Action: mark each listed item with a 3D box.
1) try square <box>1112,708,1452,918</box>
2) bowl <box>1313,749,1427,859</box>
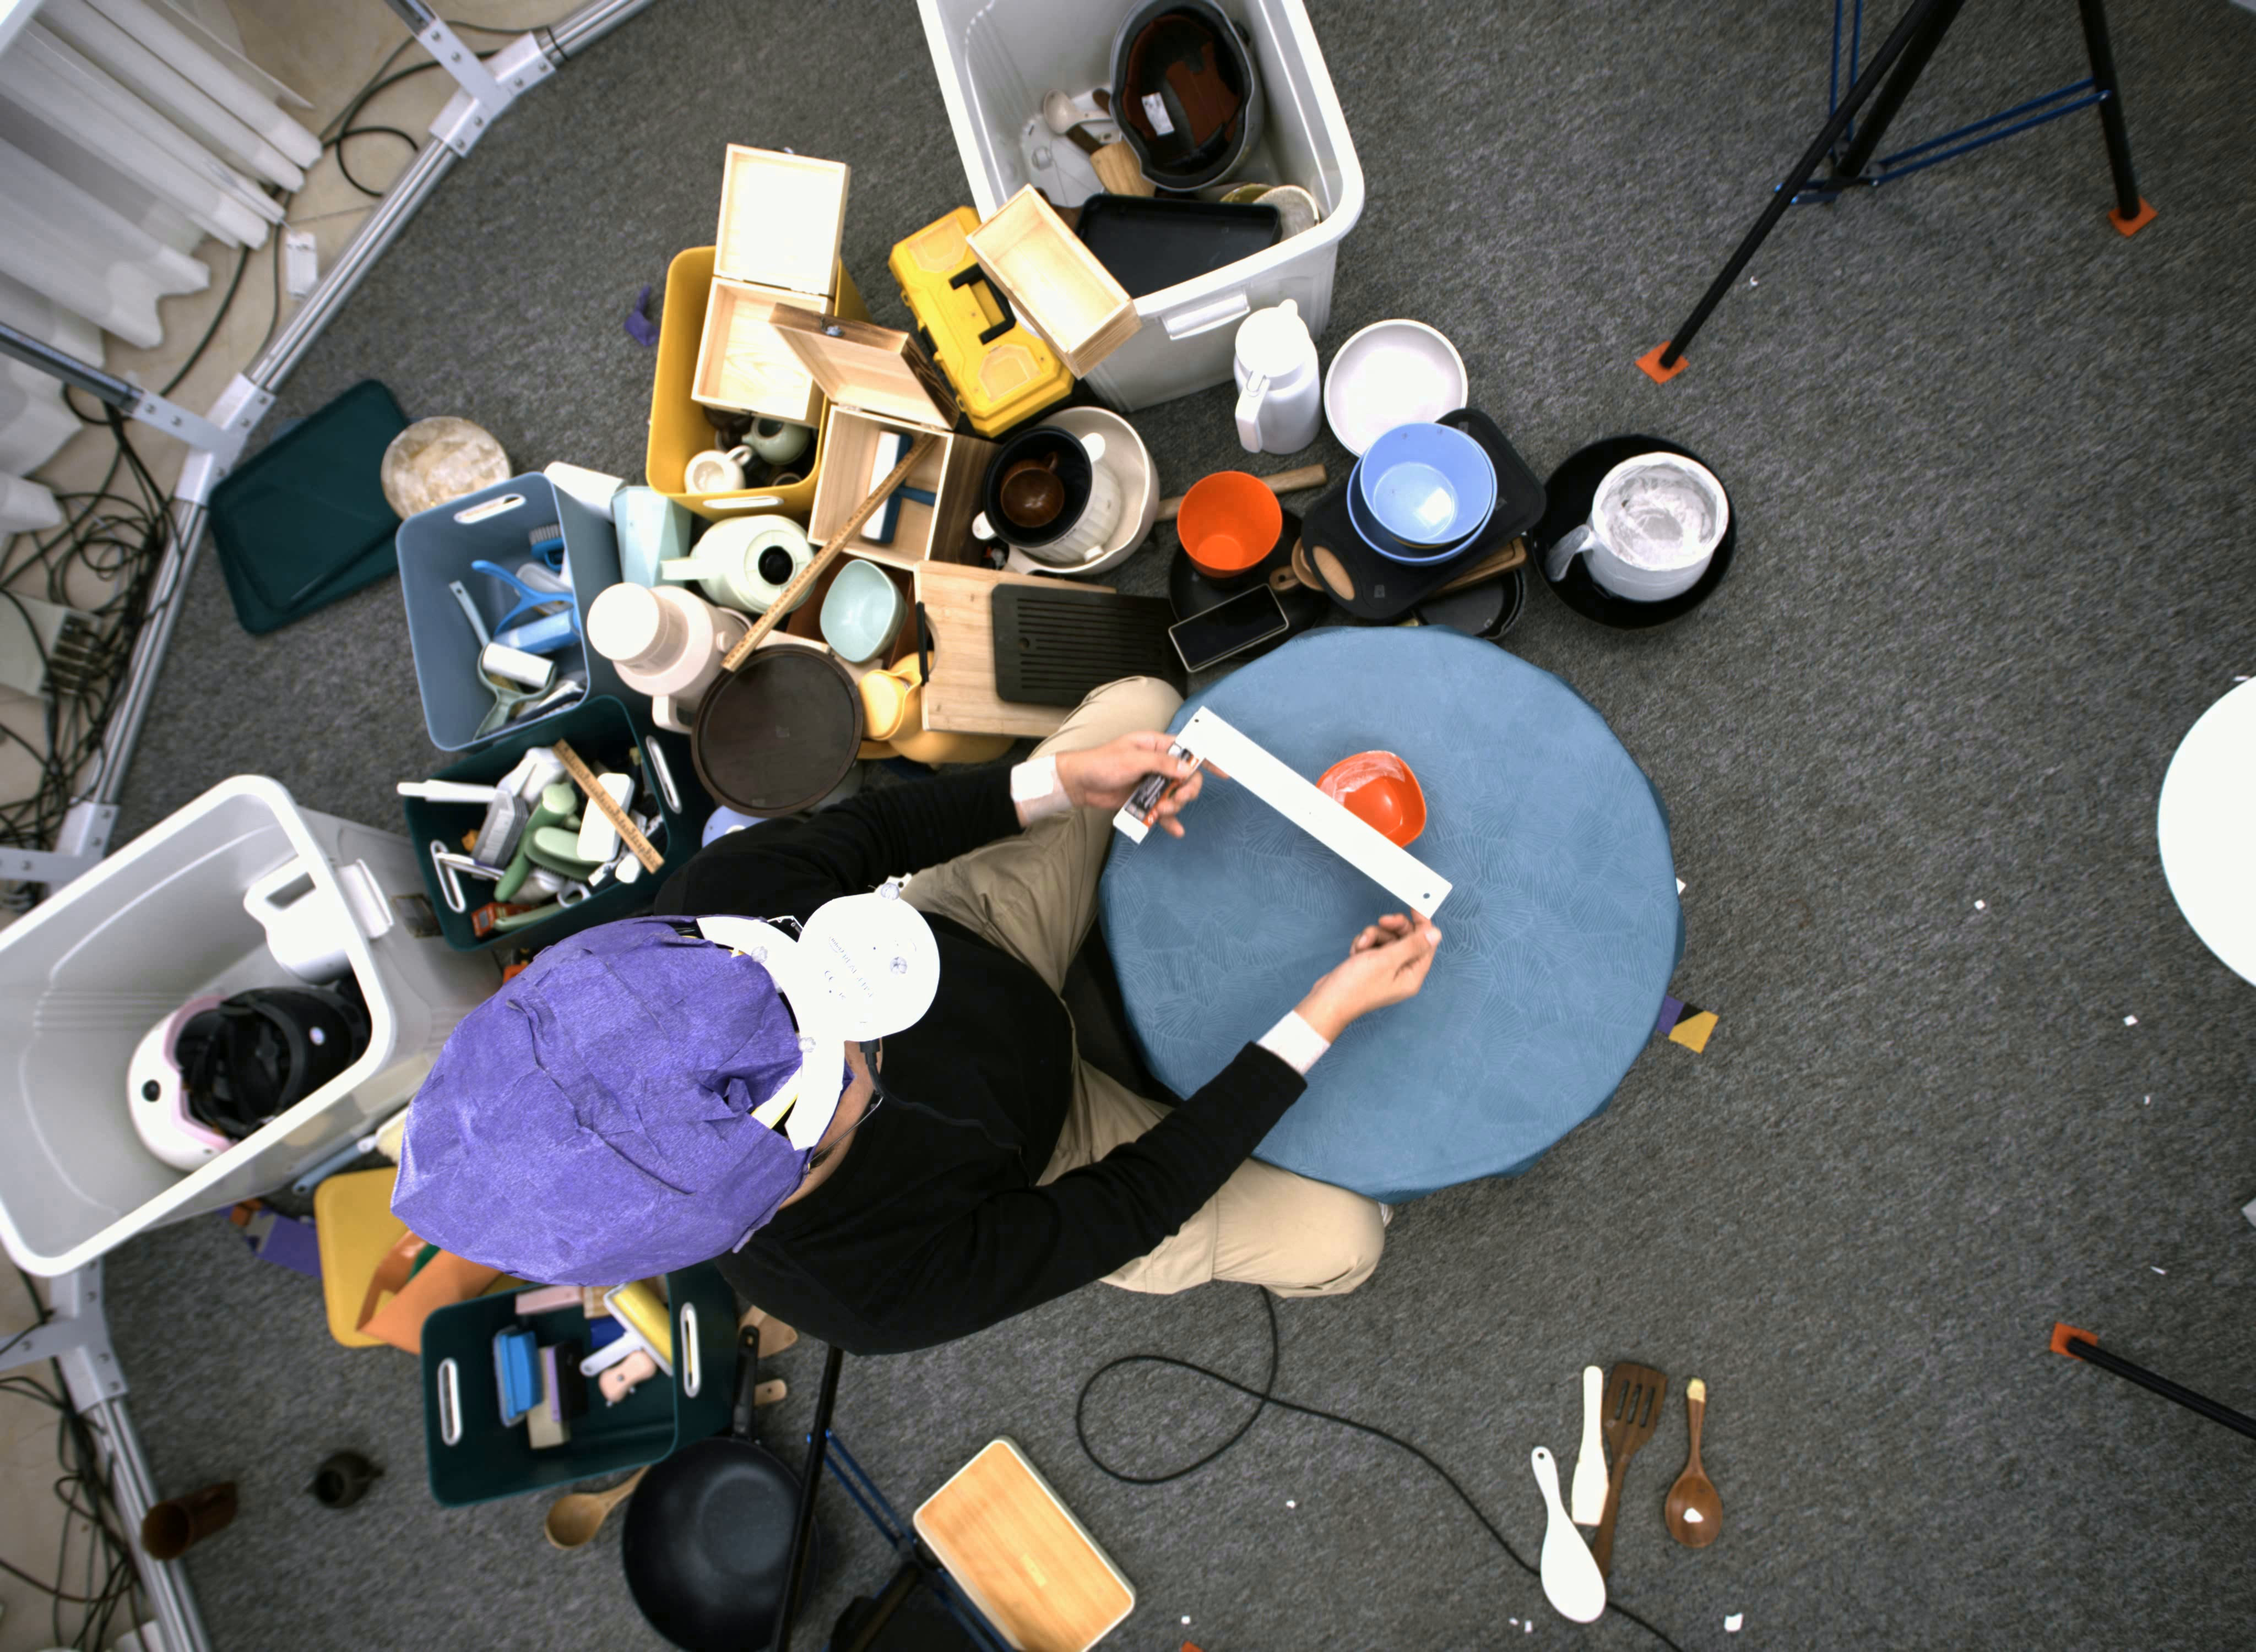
[{"bbox_3d":[0.151,0.028,1.382,0.312,0.016,0.152,36,91,8],"label":"try square"},{"bbox_3d":[0.252,-0.020,1.442,0.119,0.051,0.118,-1,87,9],"label":"bowl"}]
